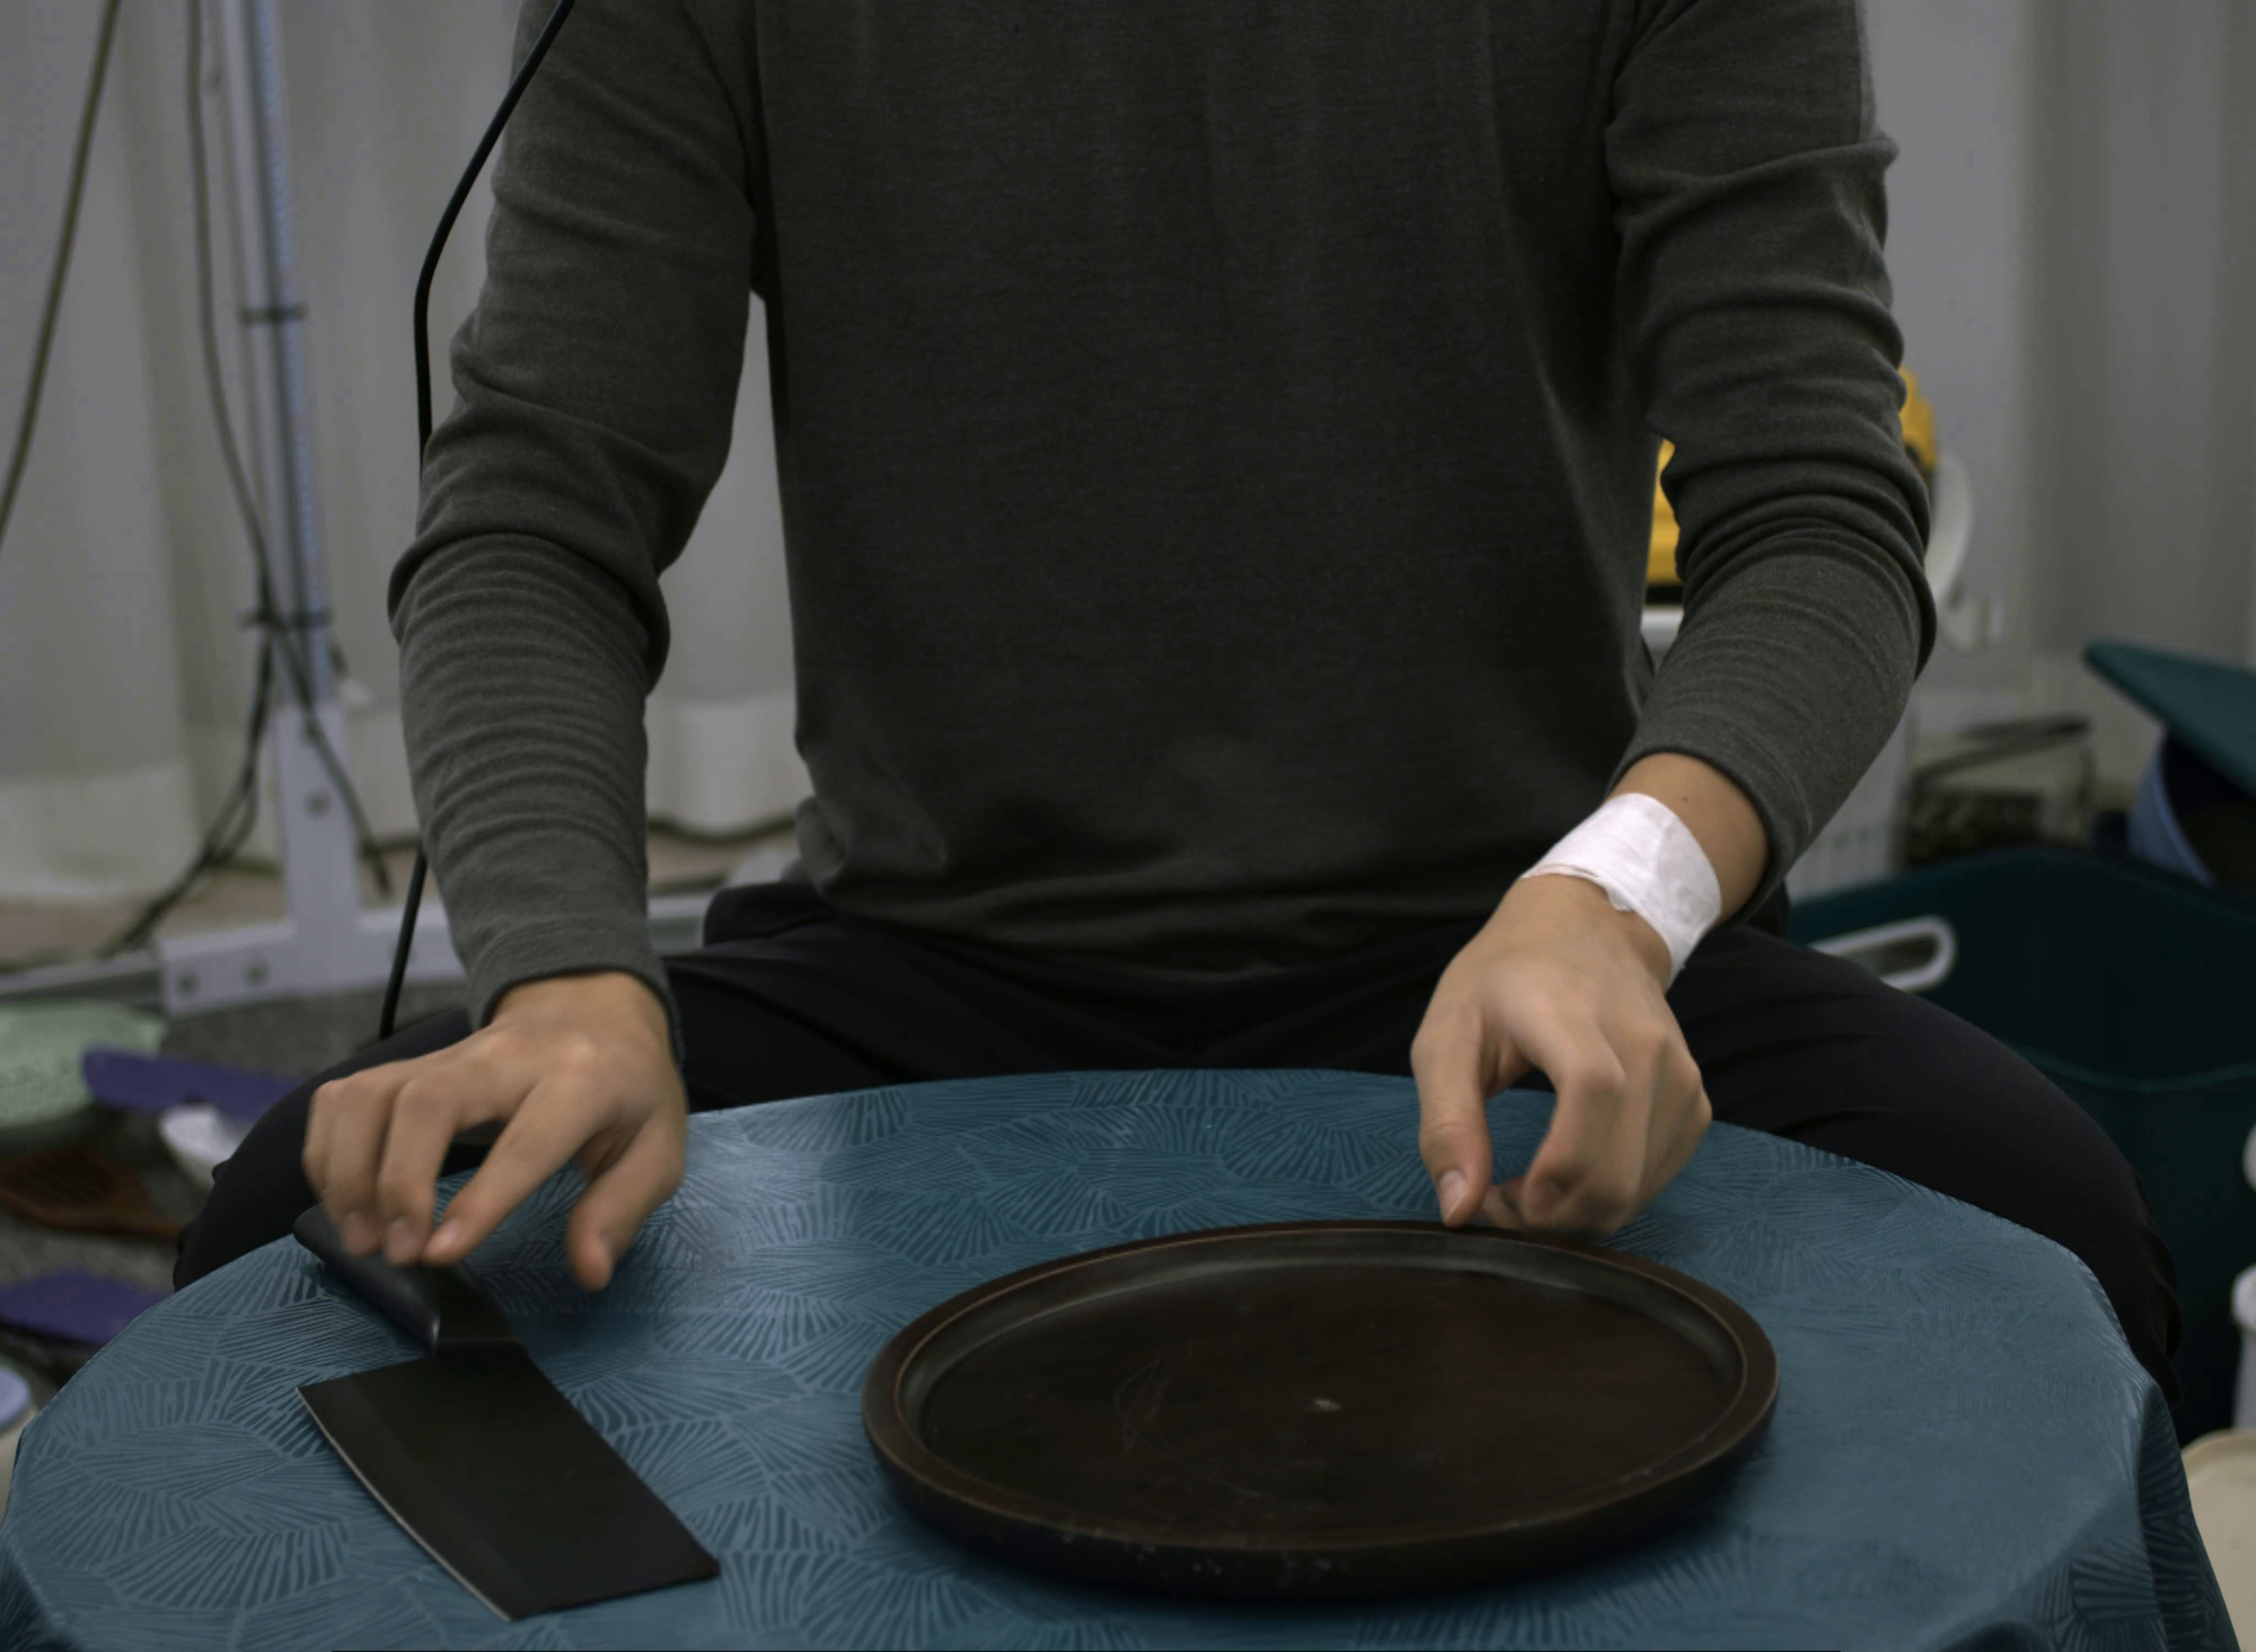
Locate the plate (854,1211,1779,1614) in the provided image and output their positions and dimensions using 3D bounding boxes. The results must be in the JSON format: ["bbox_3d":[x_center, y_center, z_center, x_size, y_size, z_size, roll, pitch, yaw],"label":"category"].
[{"bbox_3d":[0.051,0.159,1.496,0.254,0.029,0.256,-3,16,1],"label":"plate"}]

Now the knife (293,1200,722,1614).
[{"bbox_3d":[-0.192,0.162,1.548,0.080,0.021,0.305,-9,18,-18],"label":"knife"}]
